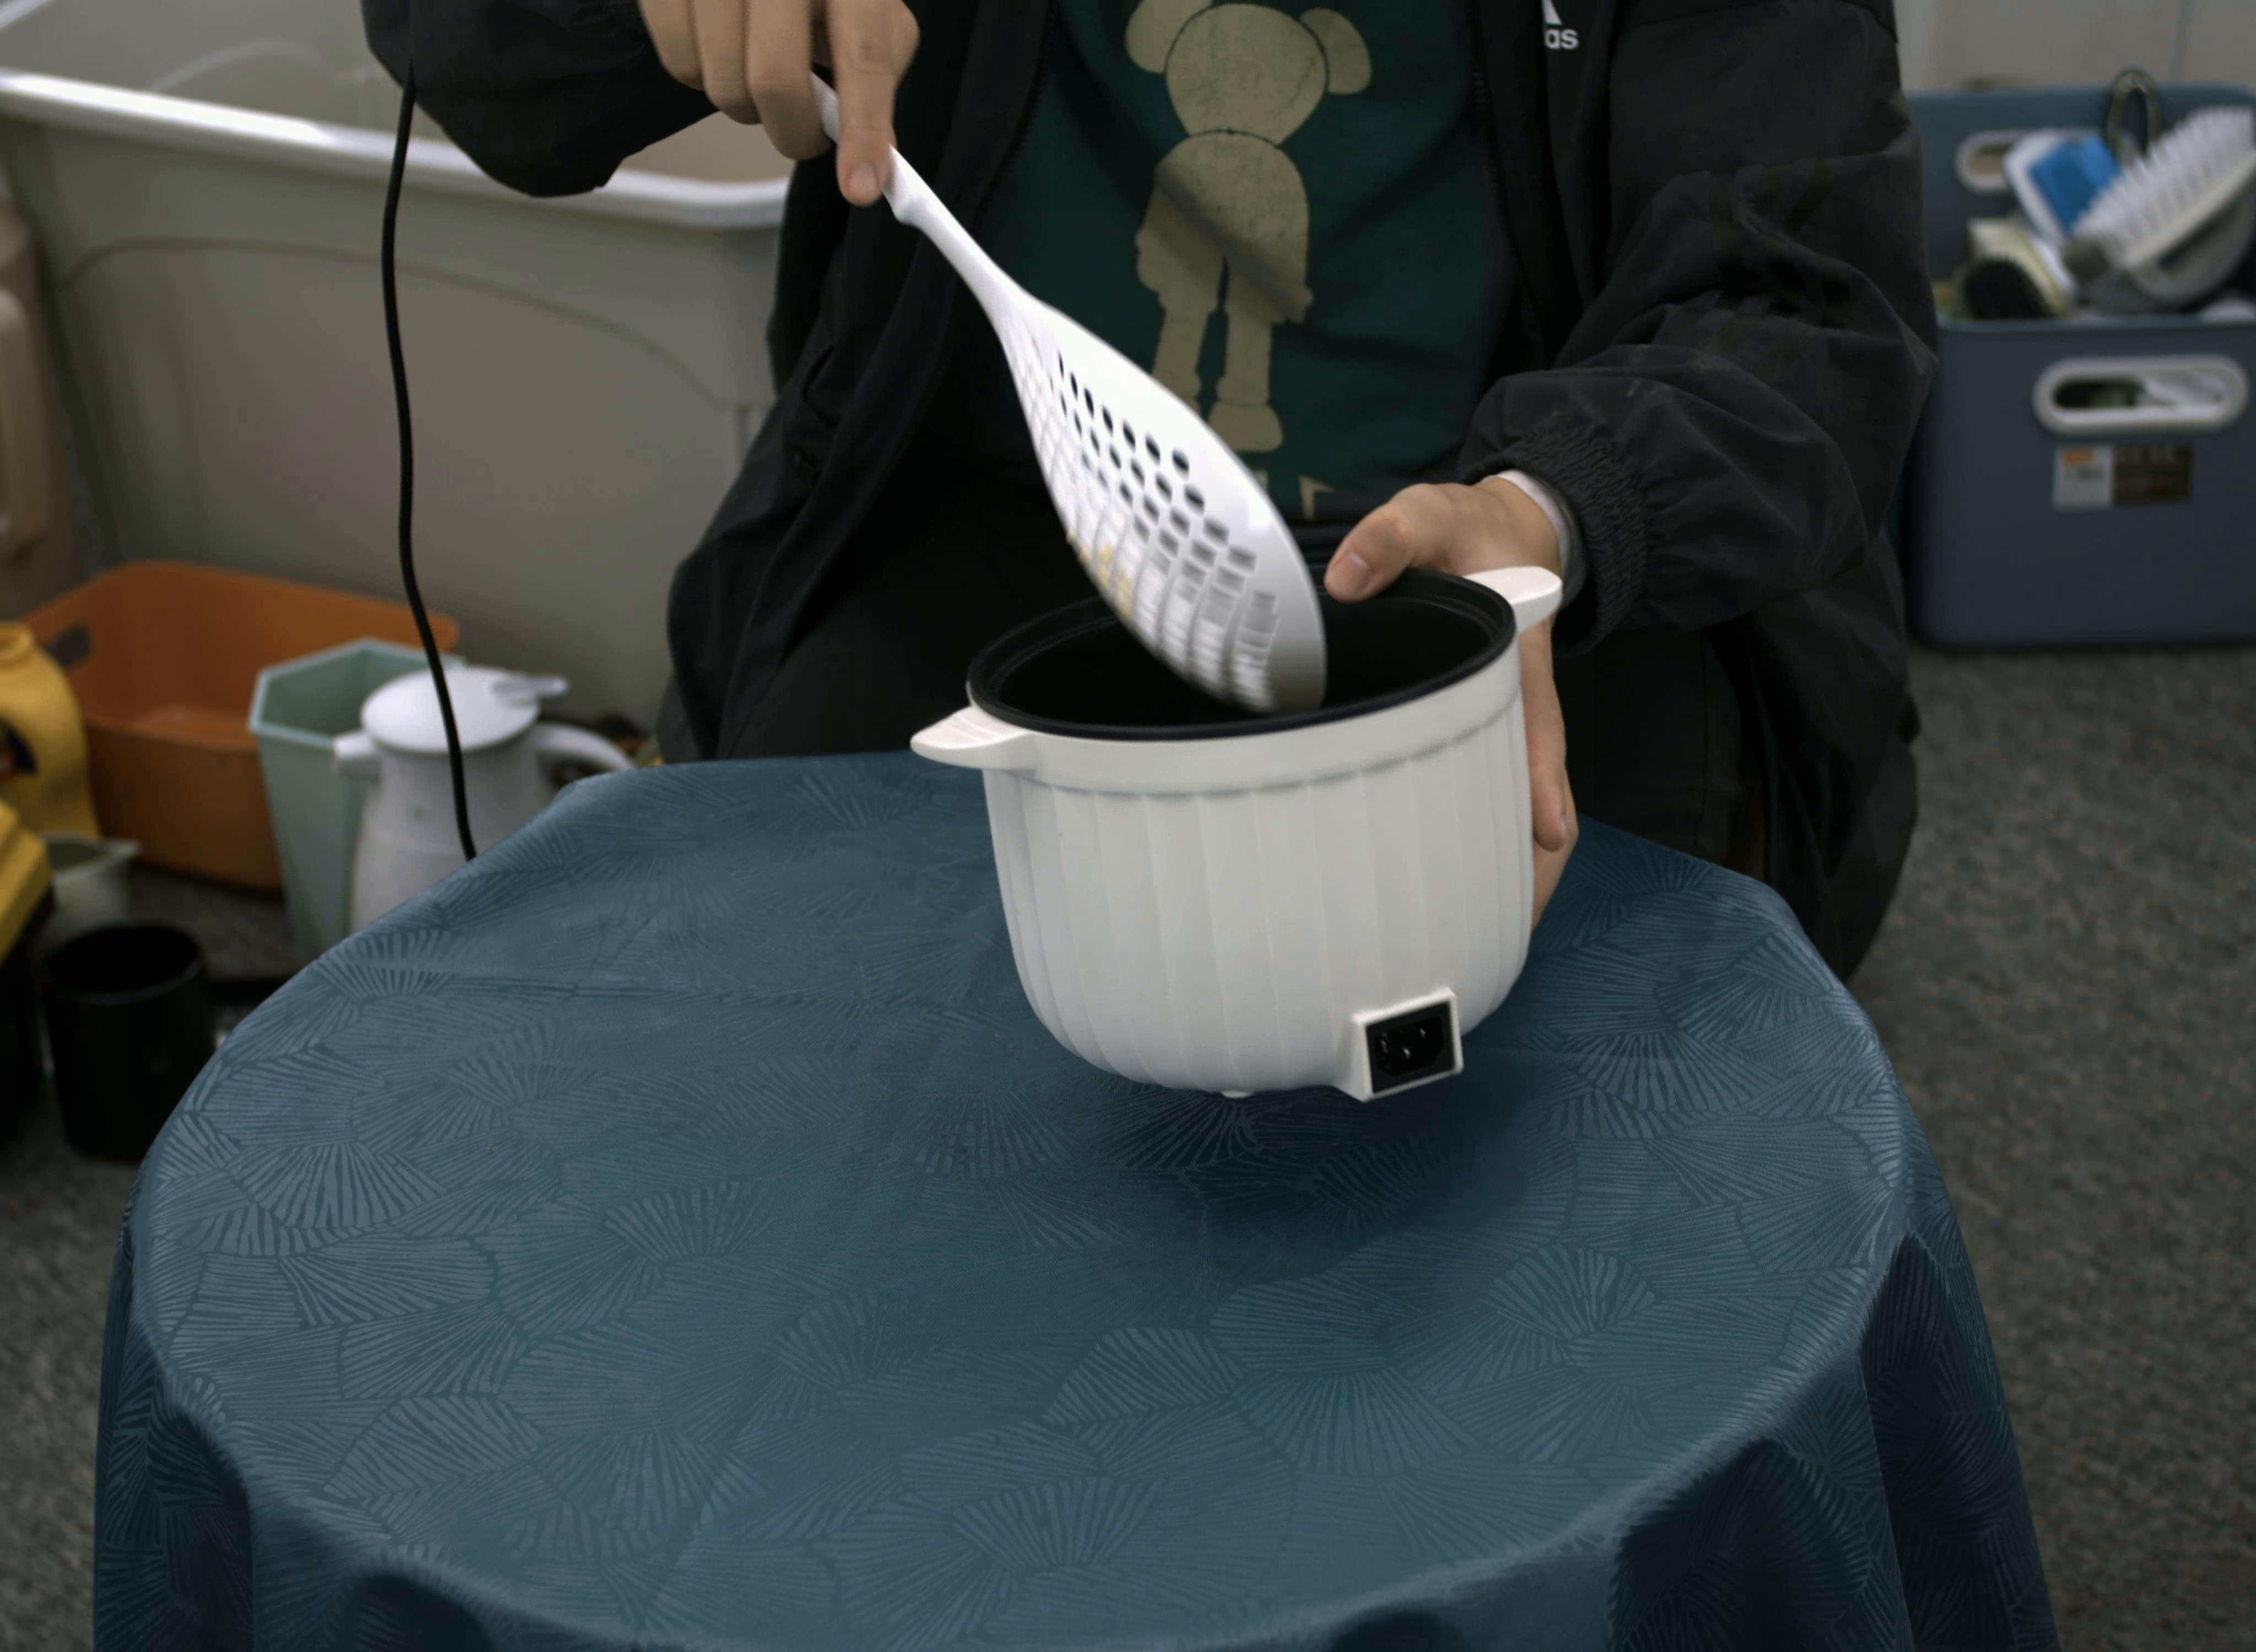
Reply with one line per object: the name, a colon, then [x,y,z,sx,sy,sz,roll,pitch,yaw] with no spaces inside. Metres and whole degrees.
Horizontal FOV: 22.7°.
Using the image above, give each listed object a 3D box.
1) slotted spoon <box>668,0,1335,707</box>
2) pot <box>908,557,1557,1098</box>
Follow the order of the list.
slotted spoon: [-0.047,-0.166,1.882,0.050,0.135,0.351,-30,67,-14]
pot: [0.040,0.001,1.859,0.241,0.141,0.191,-14,21,-25]
